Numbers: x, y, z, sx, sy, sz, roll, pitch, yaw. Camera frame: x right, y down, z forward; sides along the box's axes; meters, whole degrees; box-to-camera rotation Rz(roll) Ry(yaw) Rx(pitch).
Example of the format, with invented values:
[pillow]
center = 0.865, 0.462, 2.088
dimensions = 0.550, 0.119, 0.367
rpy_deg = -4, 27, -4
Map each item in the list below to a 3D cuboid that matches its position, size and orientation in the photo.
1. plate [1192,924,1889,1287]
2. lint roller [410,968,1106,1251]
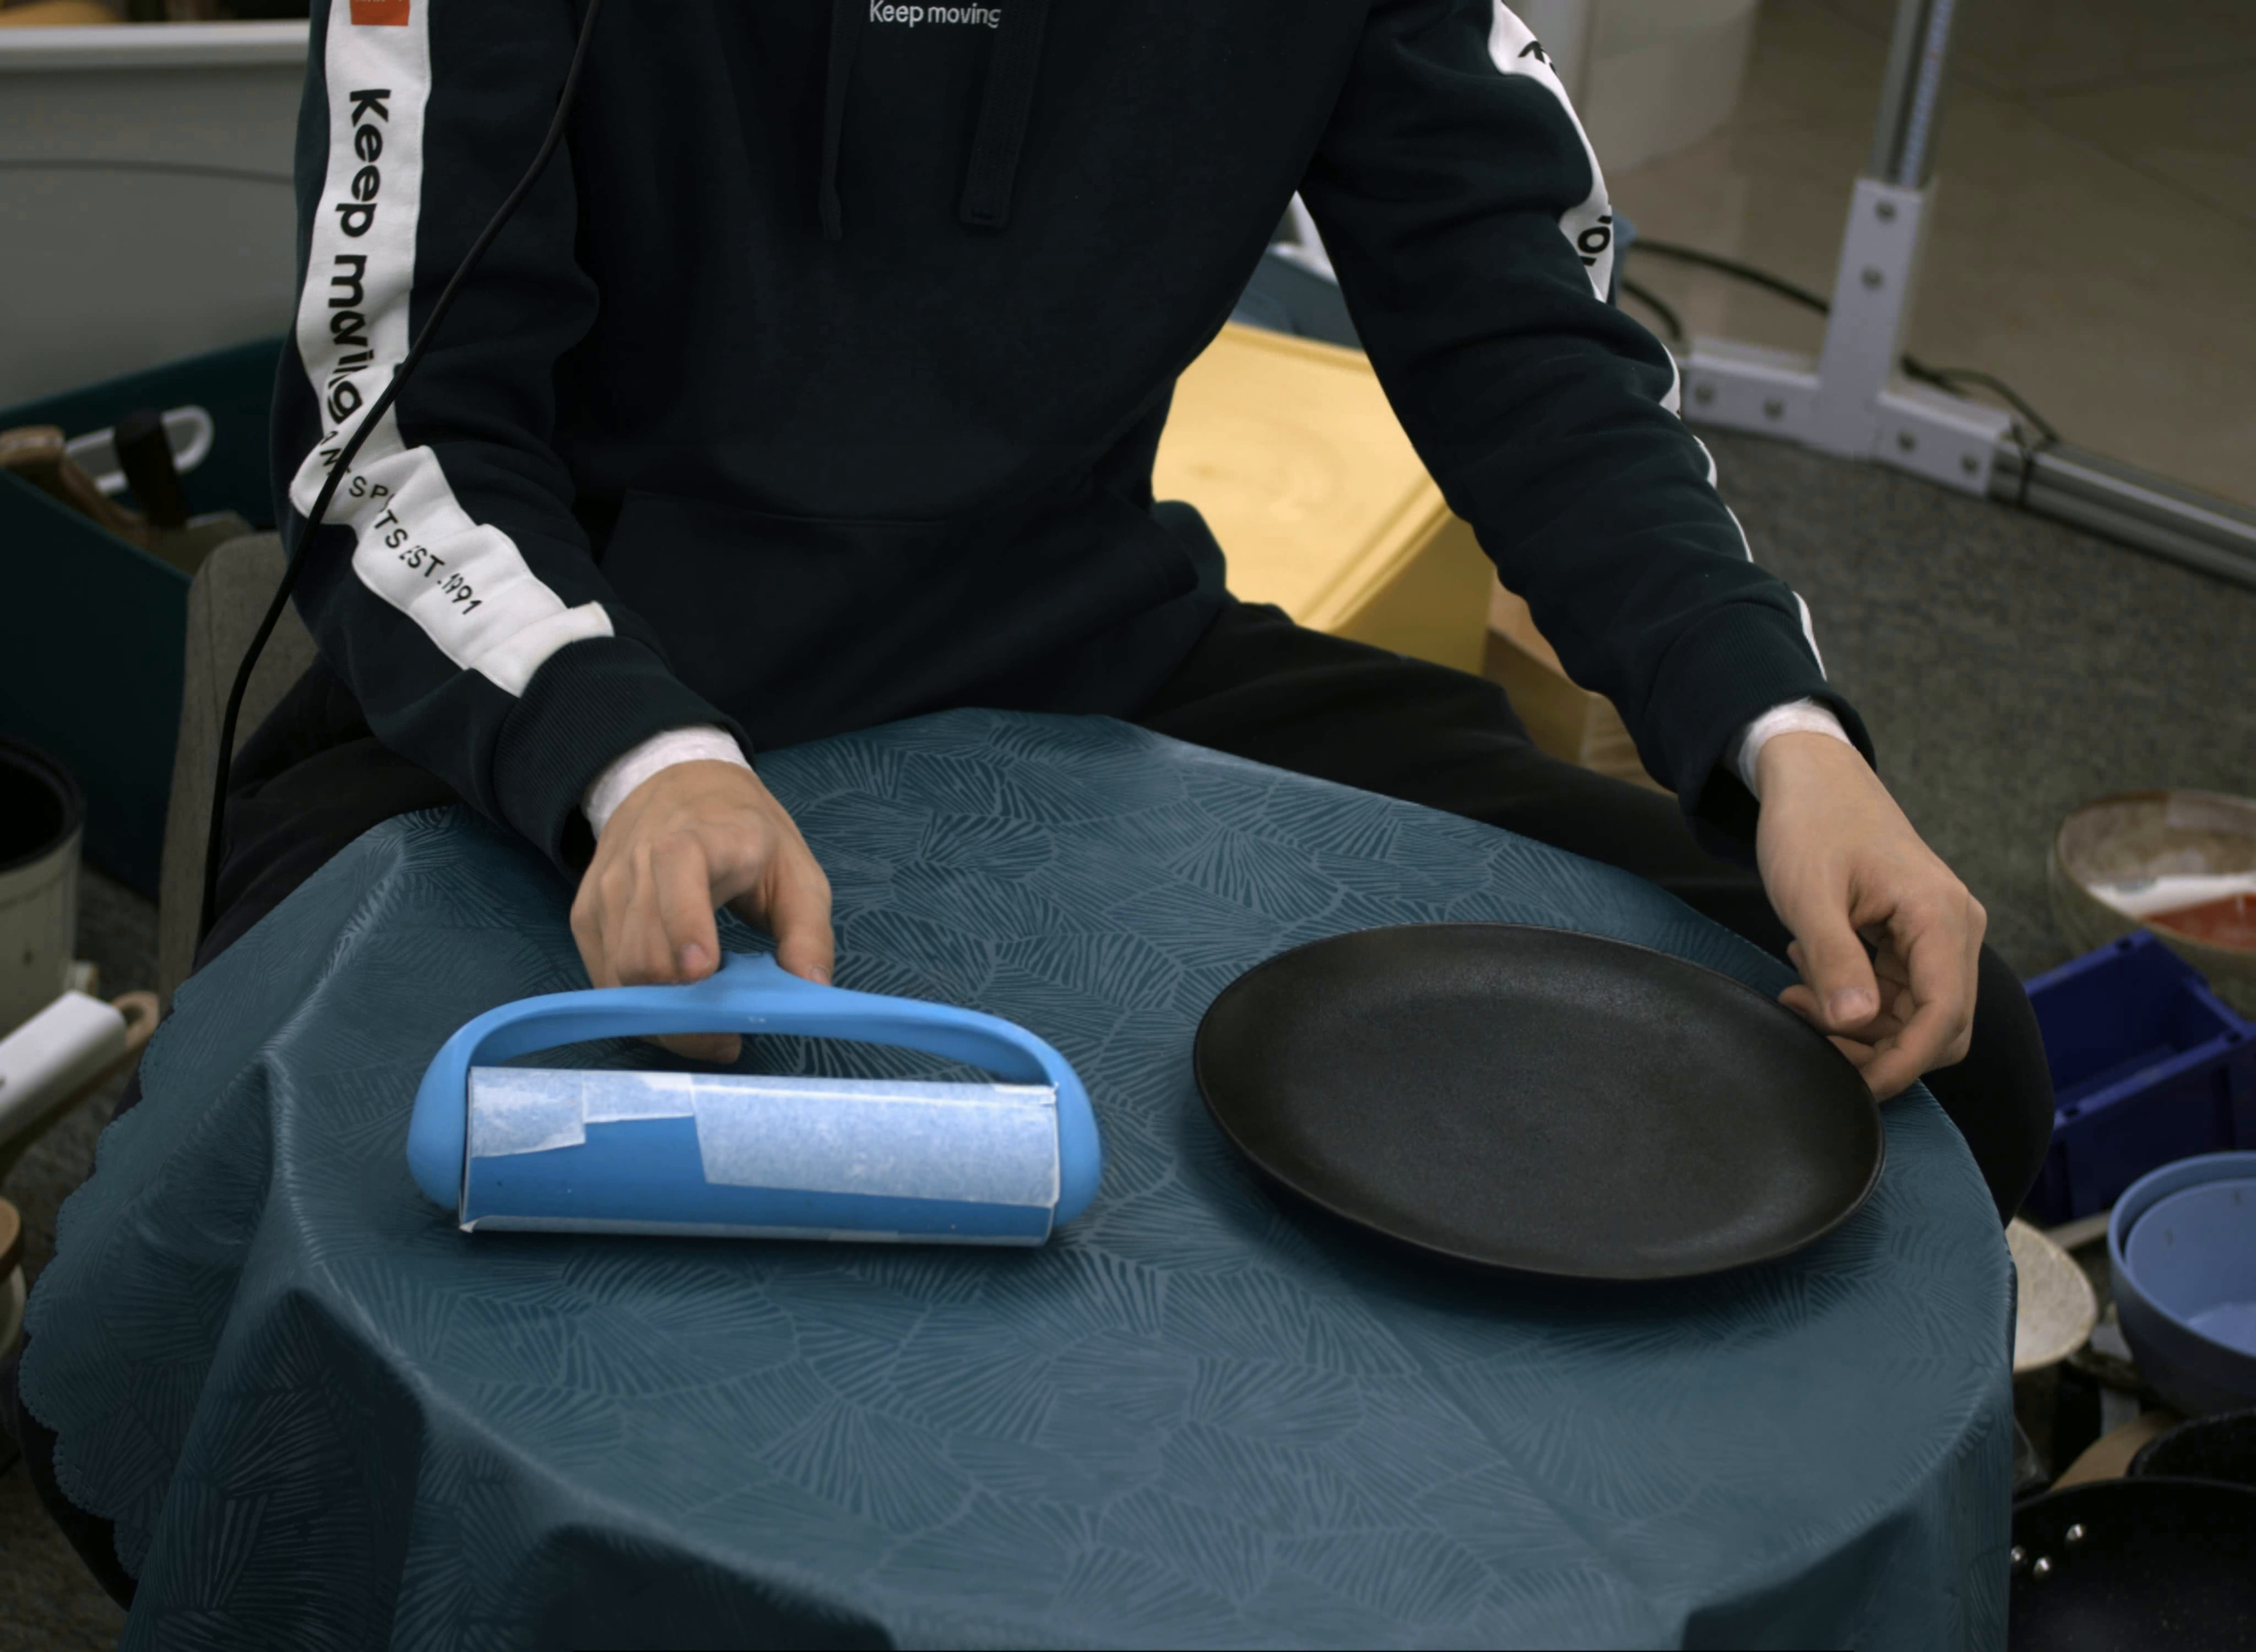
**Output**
[plate]
center = 0.142, 0.102, 1.849
dimensions = 0.243, 0.023, 0.246
rpy_deg = 5, 27, -3
[lint roller]
center = -0.130, 0.082, 1.791
dimensions = 0.228, 0.068, 0.181
rpy_deg = 0, 27, -11
